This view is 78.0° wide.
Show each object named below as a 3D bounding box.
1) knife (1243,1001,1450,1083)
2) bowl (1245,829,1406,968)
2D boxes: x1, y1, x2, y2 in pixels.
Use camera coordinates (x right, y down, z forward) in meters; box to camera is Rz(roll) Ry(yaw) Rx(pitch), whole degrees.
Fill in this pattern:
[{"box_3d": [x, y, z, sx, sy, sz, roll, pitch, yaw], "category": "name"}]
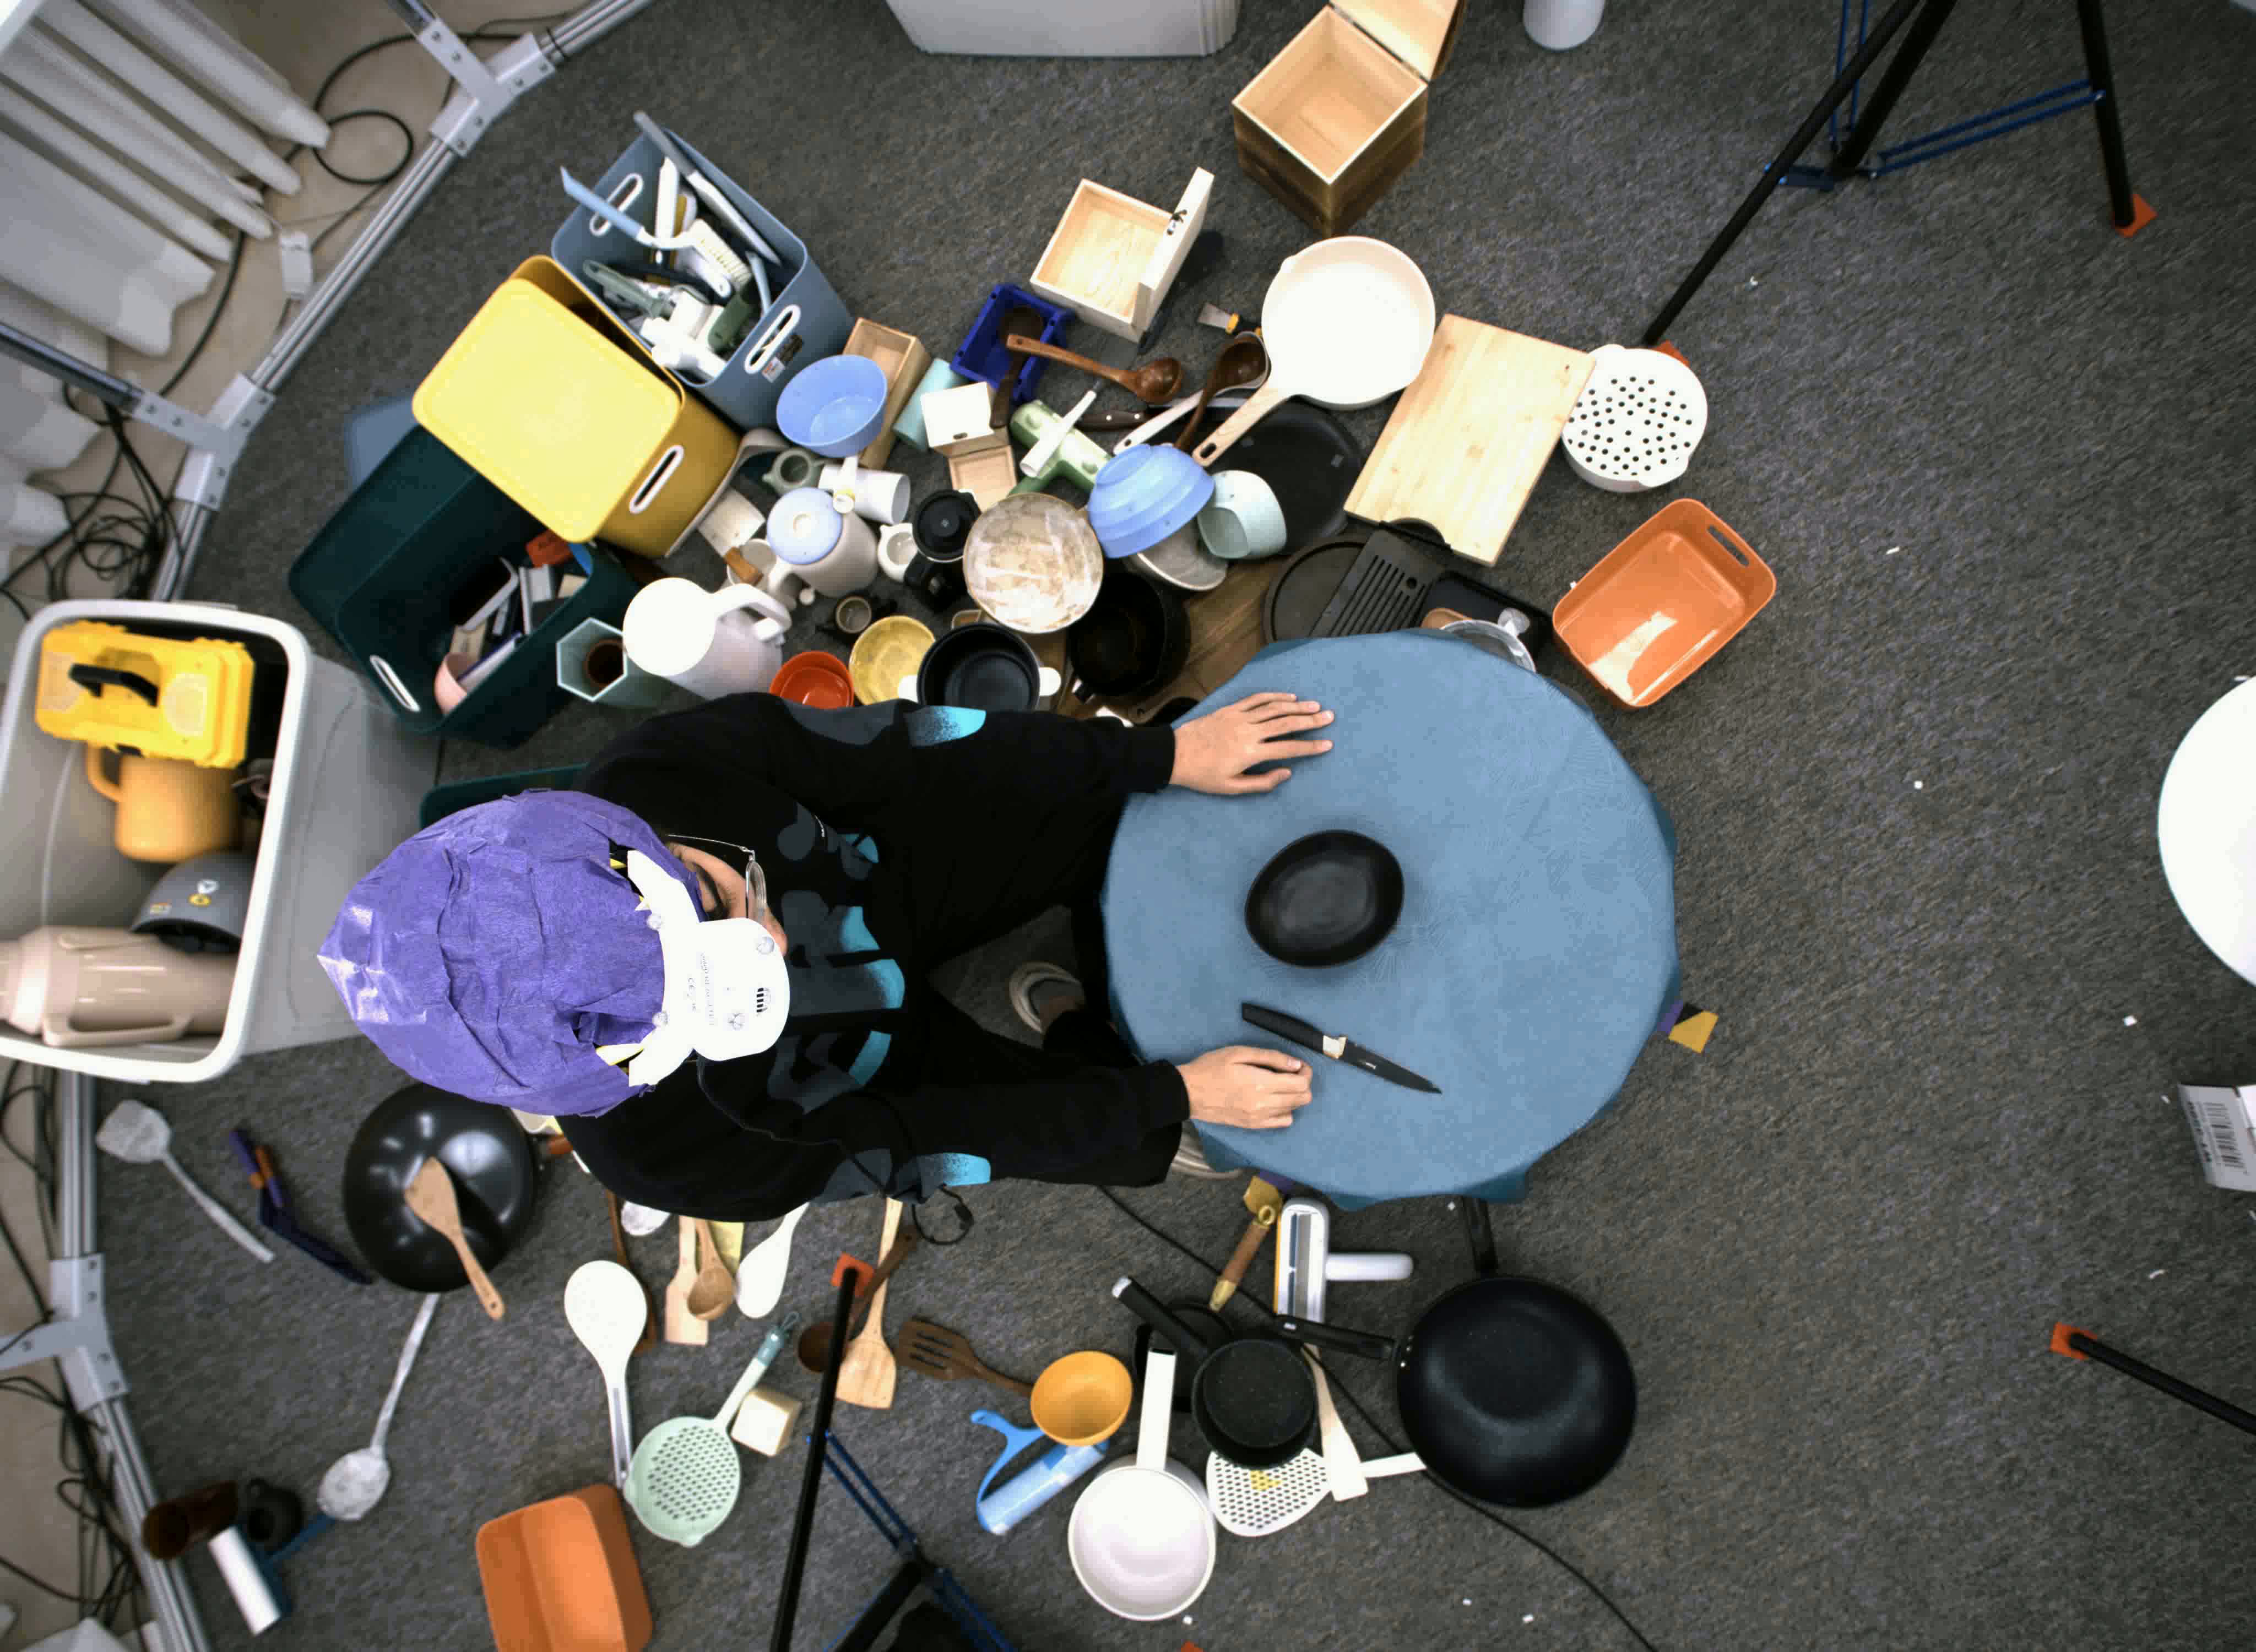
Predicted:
[{"box_3d": [0.228, 0.230, 1.453, 0.225, 0.017, 0.026, 21, 94, 10], "category": "knife"}, {"box_3d": [0.206, 0.077, 1.439, 0.171, 0.066, 0.136, -26, 82, 10], "category": "bowl"}]
